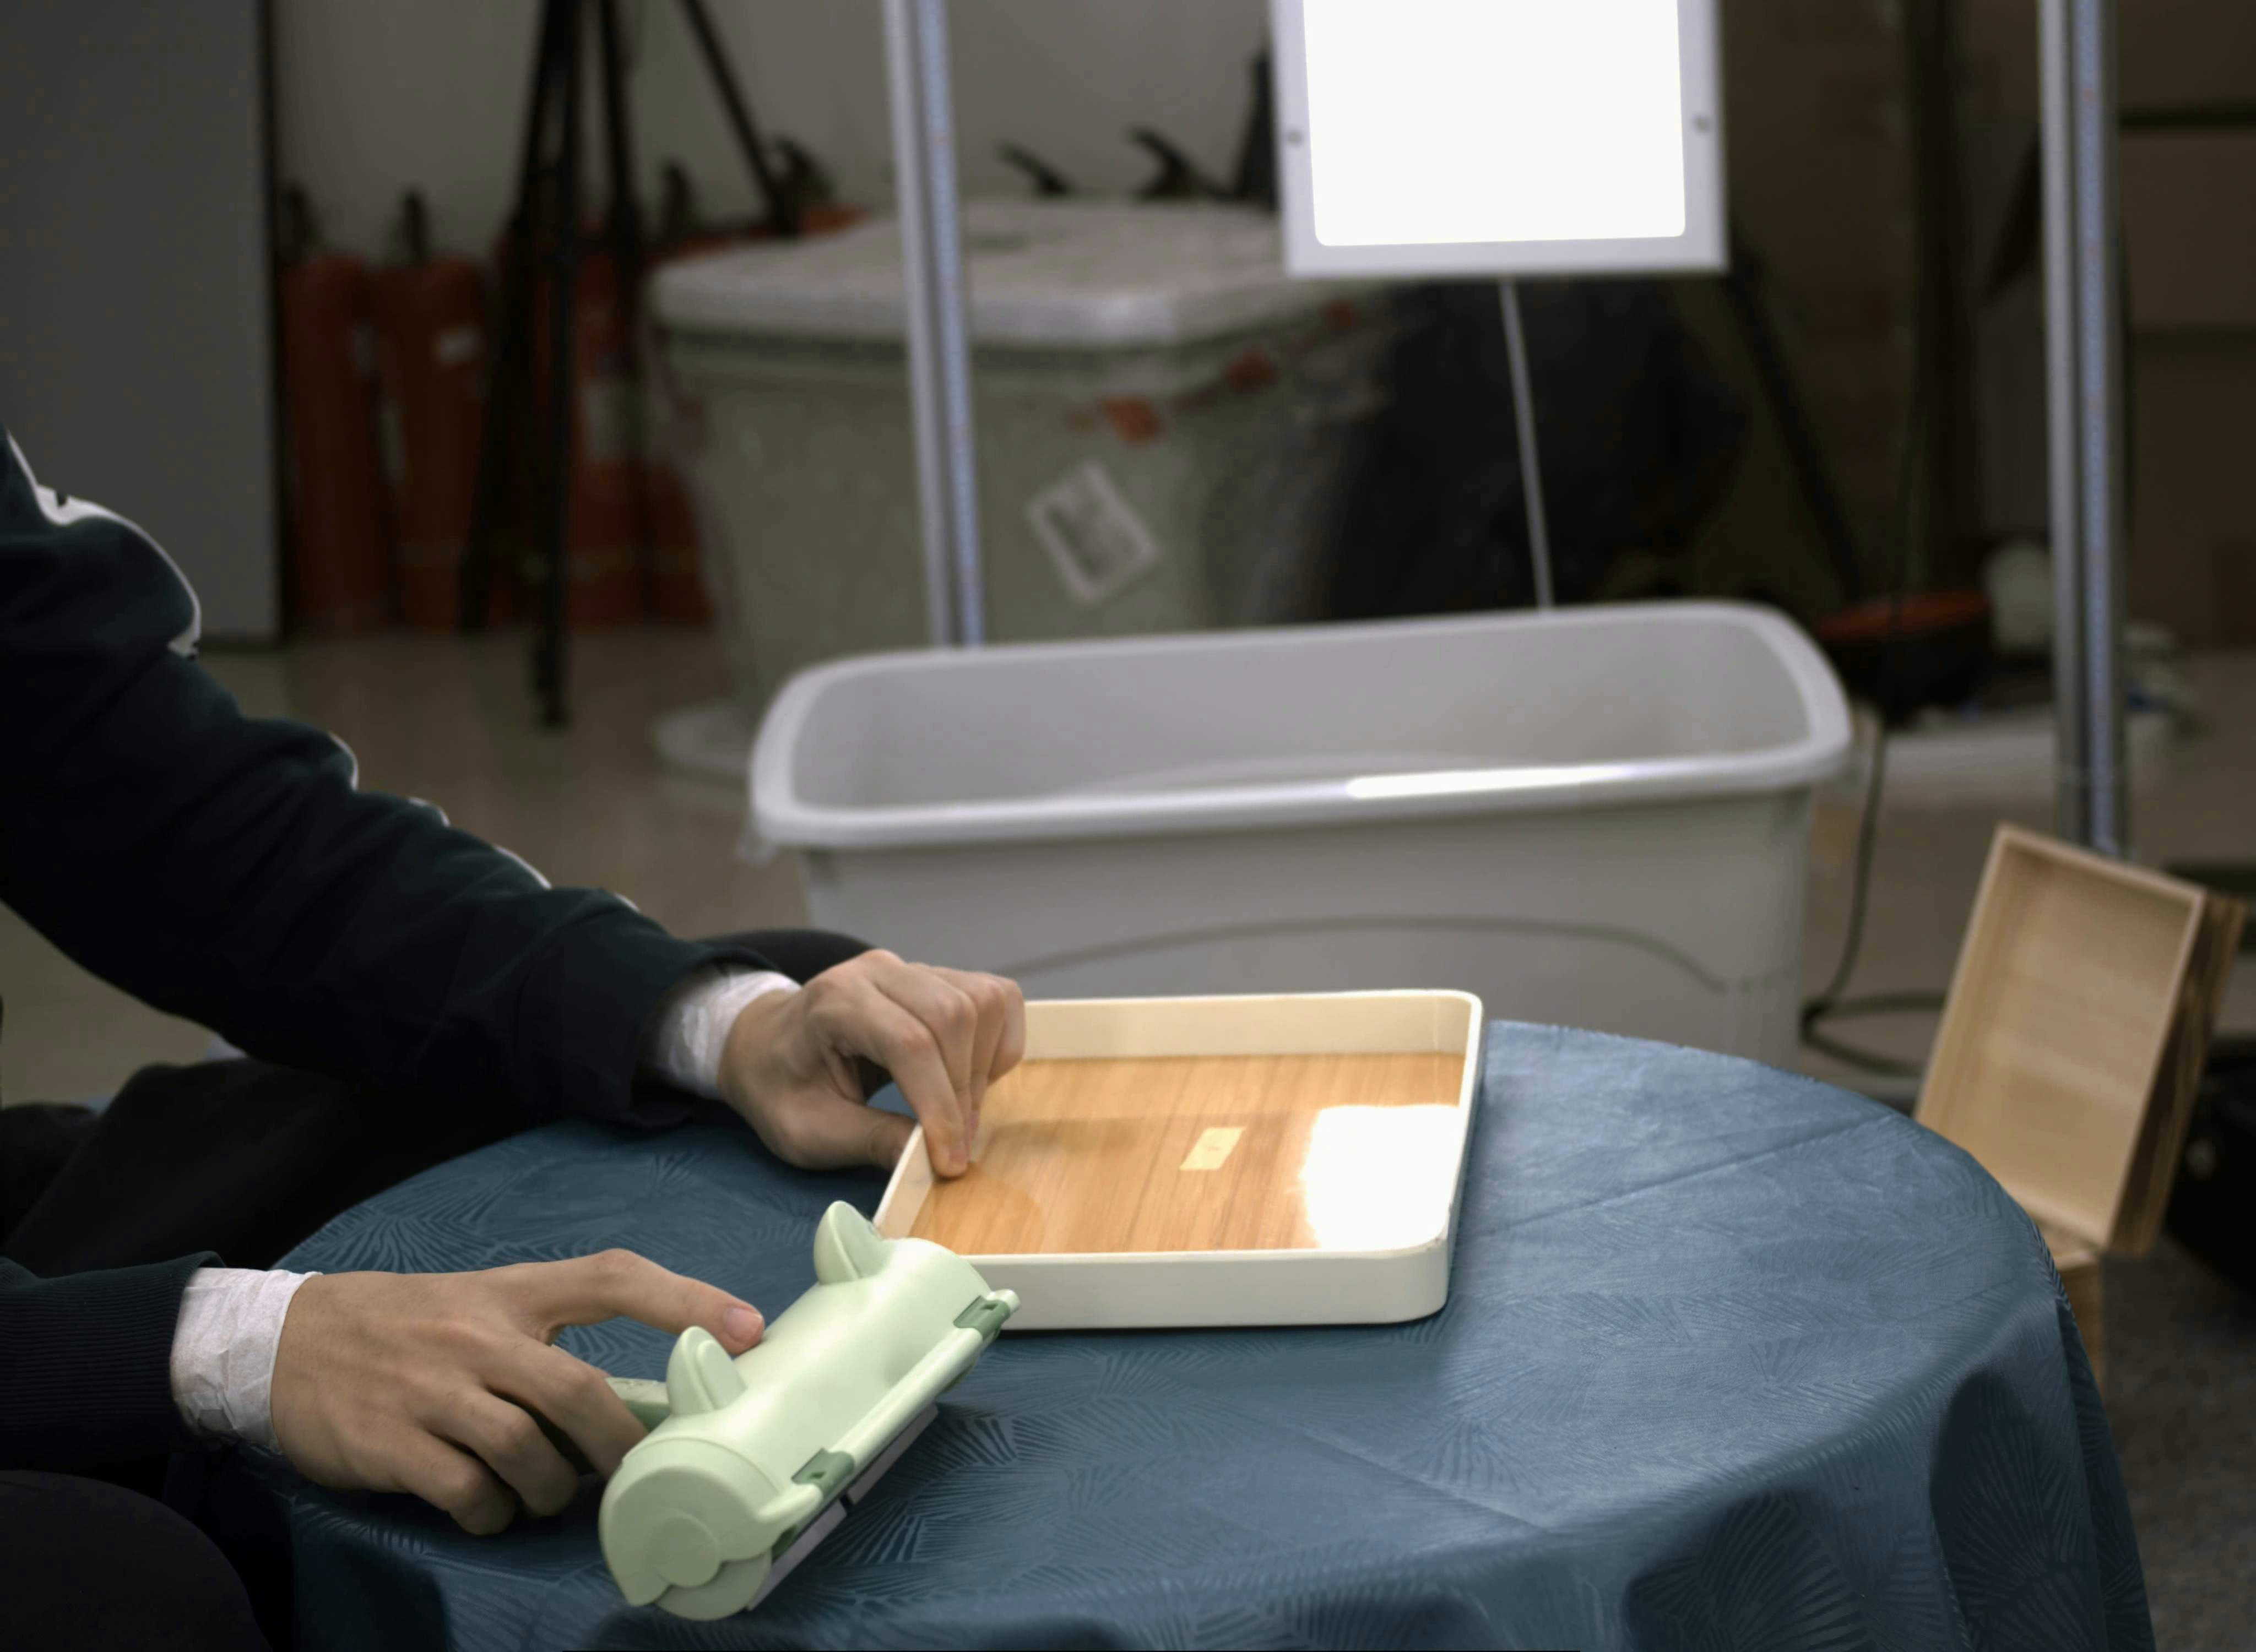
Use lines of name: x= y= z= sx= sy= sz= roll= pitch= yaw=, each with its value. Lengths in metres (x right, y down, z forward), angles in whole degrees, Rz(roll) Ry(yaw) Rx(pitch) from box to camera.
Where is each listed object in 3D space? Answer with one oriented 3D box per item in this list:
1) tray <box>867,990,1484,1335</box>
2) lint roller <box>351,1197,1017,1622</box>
tray: x=0.022 y=0.112 z=1.885 sx=0.192 sy=0.027 sz=0.298 roll=-3 pitch=14 yaw=8
lint roller: x=-0.148 y=0.163 z=1.634 sx=0.185 sy=0.082 sz=0.195 roll=5 pitch=16 yaw=19
